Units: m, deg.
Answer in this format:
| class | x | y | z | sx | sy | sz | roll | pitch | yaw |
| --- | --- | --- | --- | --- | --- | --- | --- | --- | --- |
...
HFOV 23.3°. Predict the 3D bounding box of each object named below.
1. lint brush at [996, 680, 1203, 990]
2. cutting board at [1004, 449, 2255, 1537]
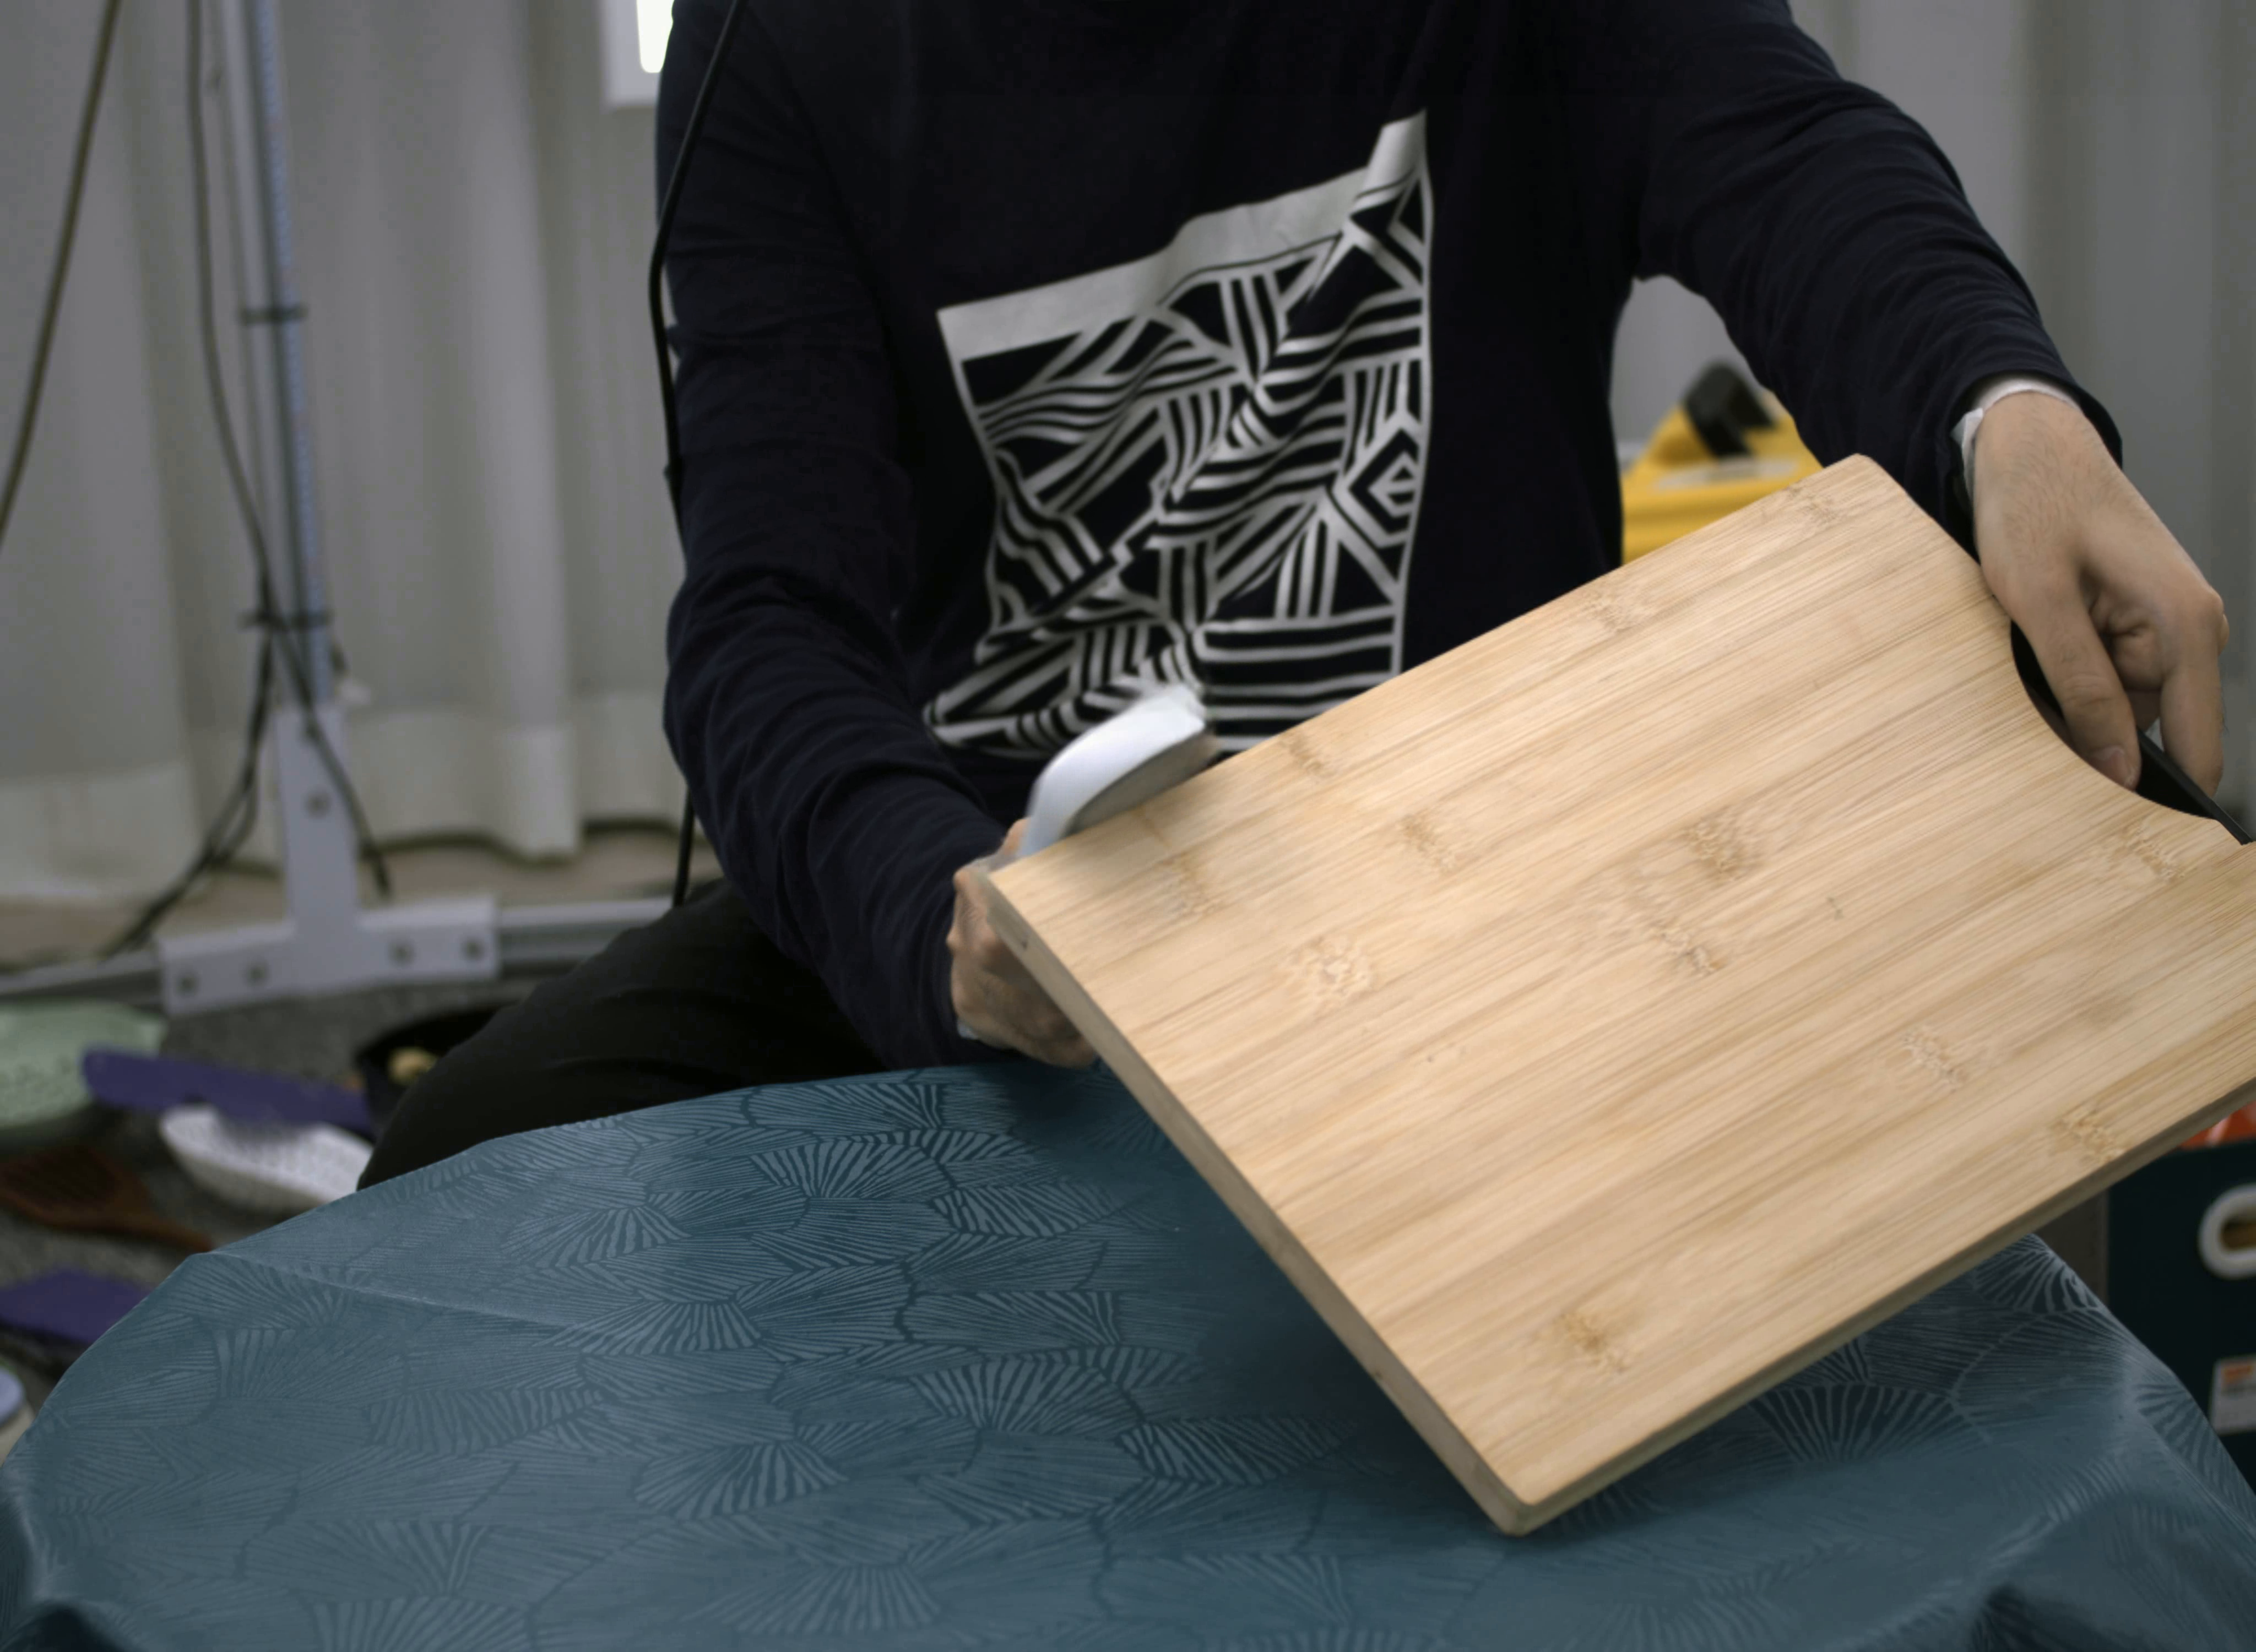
| class | x | y | z | sx | sy | sz | roll | pitch | yaw |
| --- | --- | --- | --- | --- | --- | --- | --- | --- | --- |
| lint brush | -0.013 | 0.009 | 1.655 | 0.060 | 0.021 | 0.307 | -34 | -9 | -11 |
| cutting board | 0.168 | 0.035 | 1.560 | 0.349 | 0.023 | 0.253 | -26 | 61 | -30 |
